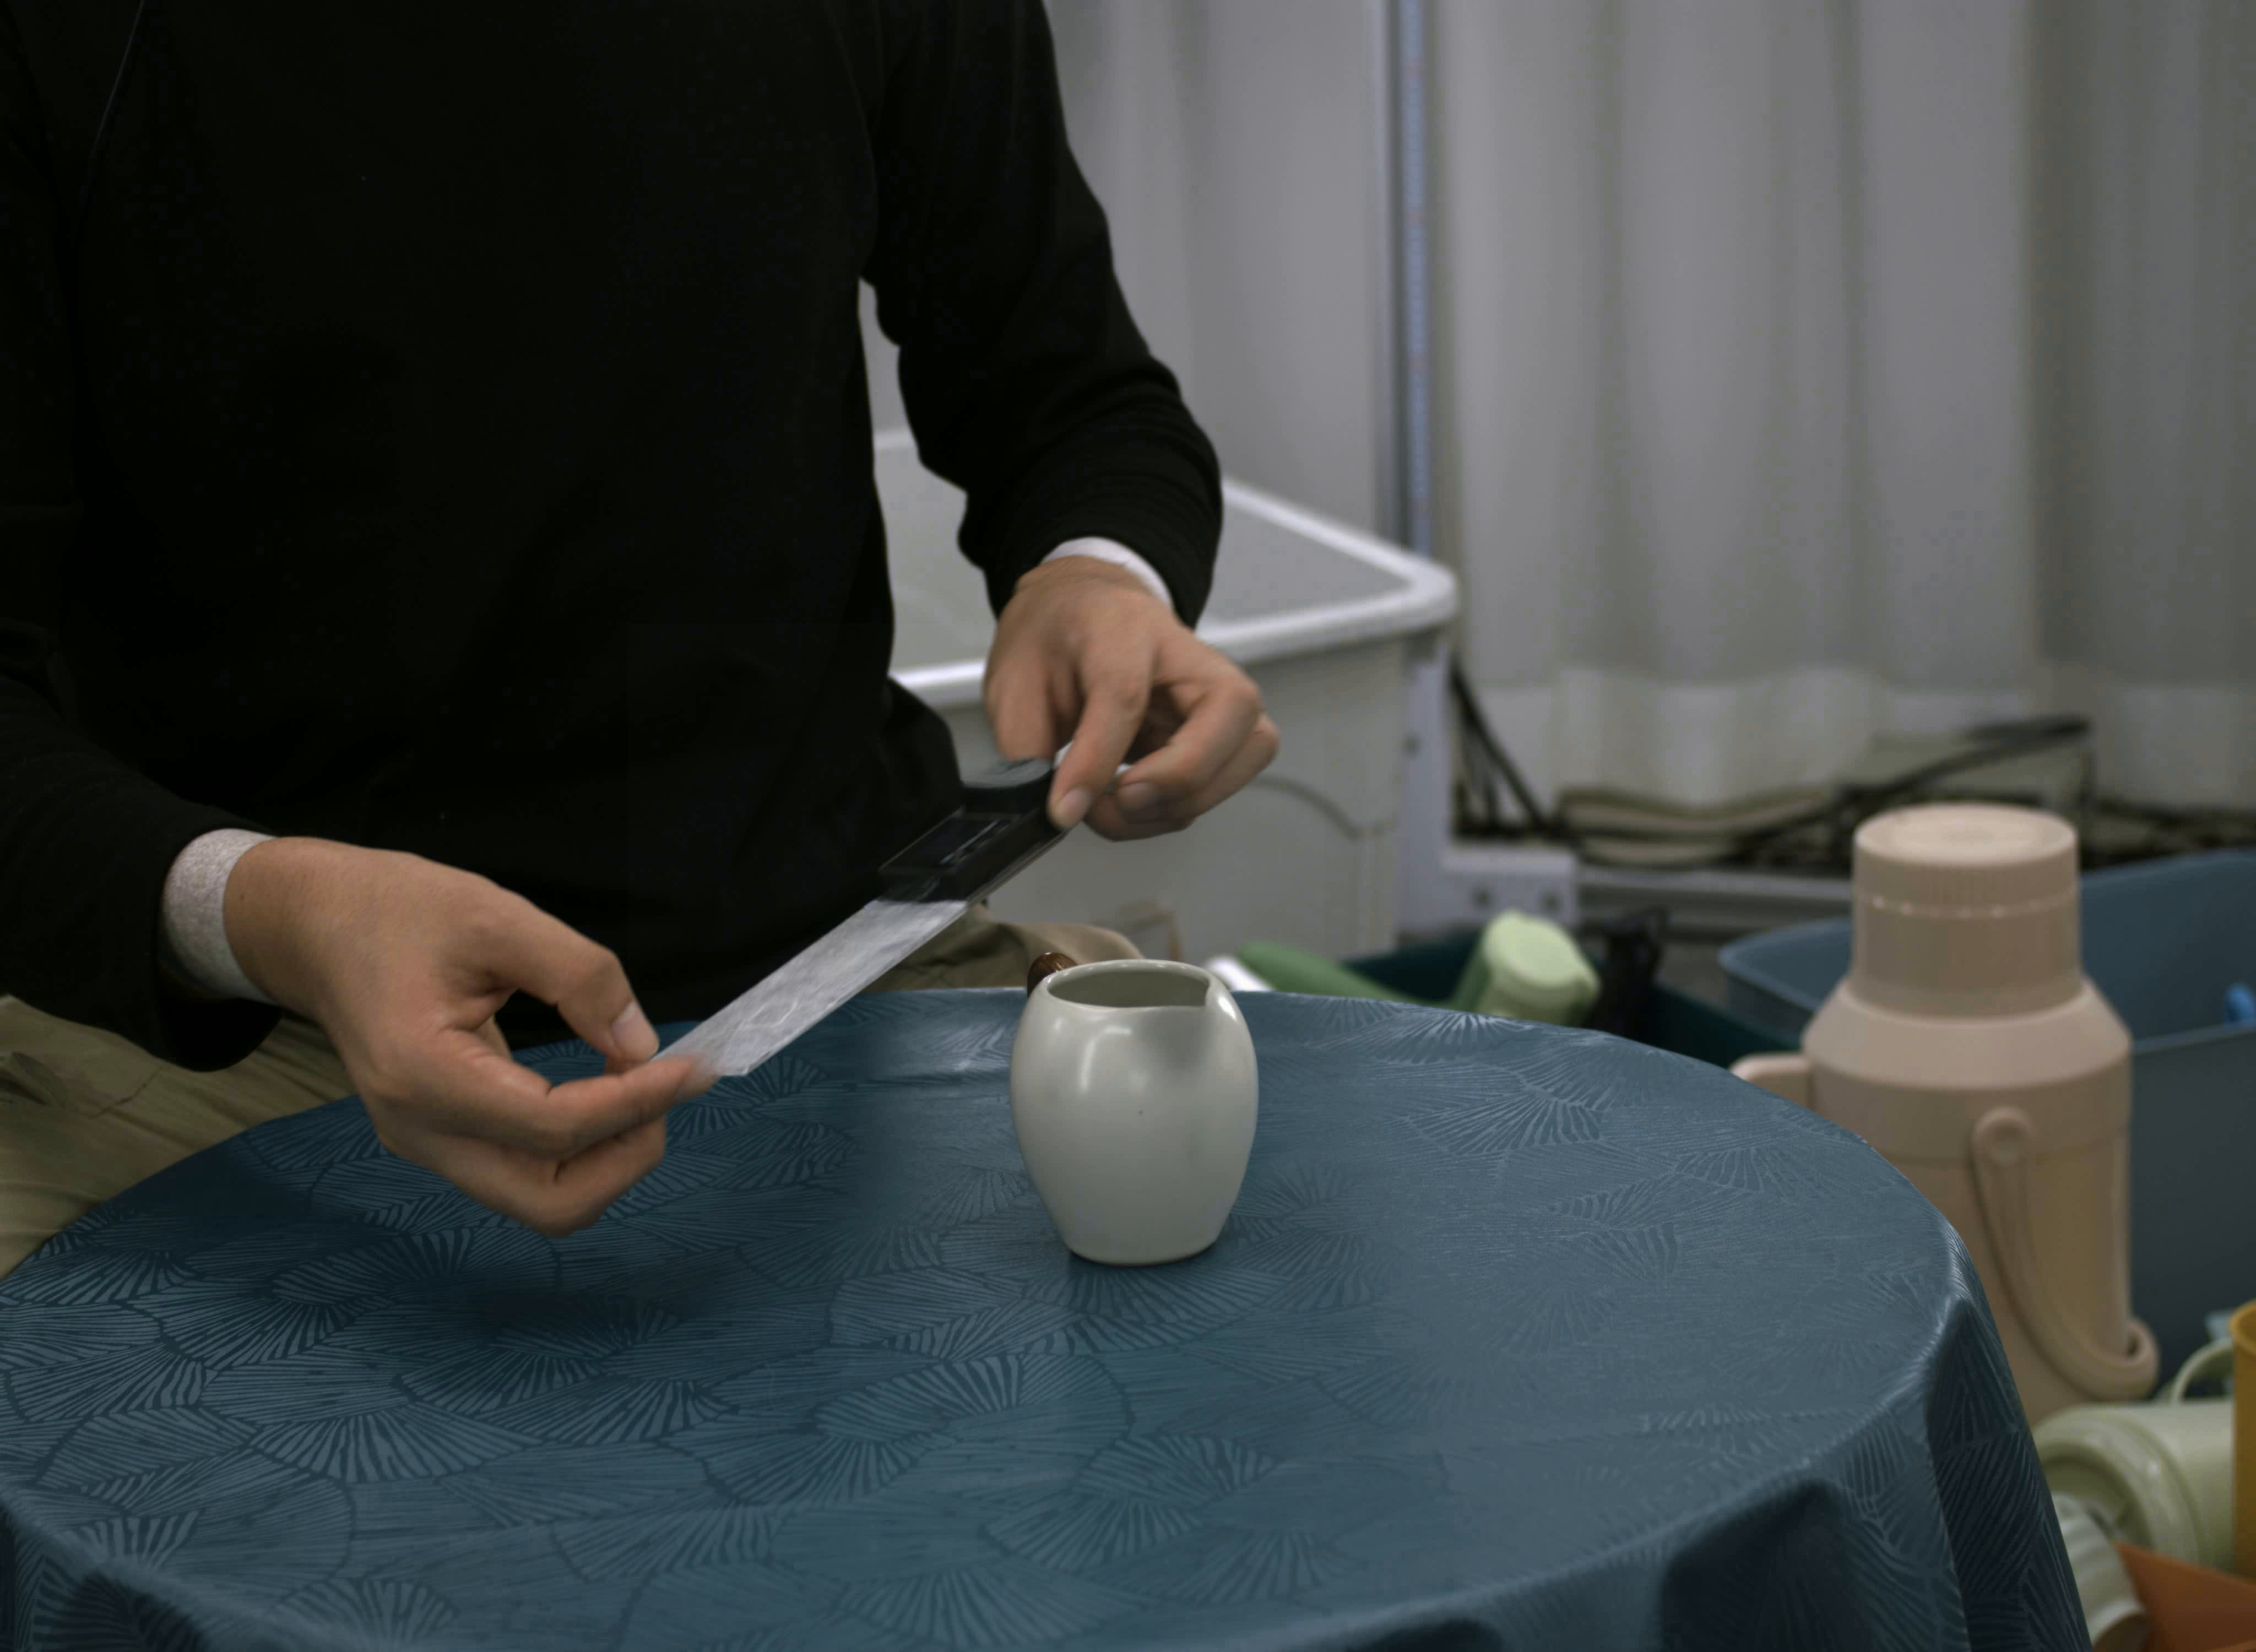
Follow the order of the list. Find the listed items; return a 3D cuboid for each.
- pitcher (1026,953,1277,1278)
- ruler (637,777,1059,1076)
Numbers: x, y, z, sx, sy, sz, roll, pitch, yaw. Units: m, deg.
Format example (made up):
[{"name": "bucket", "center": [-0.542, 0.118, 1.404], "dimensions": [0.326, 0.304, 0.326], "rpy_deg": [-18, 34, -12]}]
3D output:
[{"name": "pitcher", "center": [0.004, 0.086, 1.654], "dimensions": [0.075, 0.087, 0.120], "rpy_deg": [-5, 15, -22]}, {"name": "ruler", "center": [-0.083, 0.029, 1.693], "dimensions": [0.038, 0.024, 0.219], "rpy_deg": [-9, 14, 31]}]
